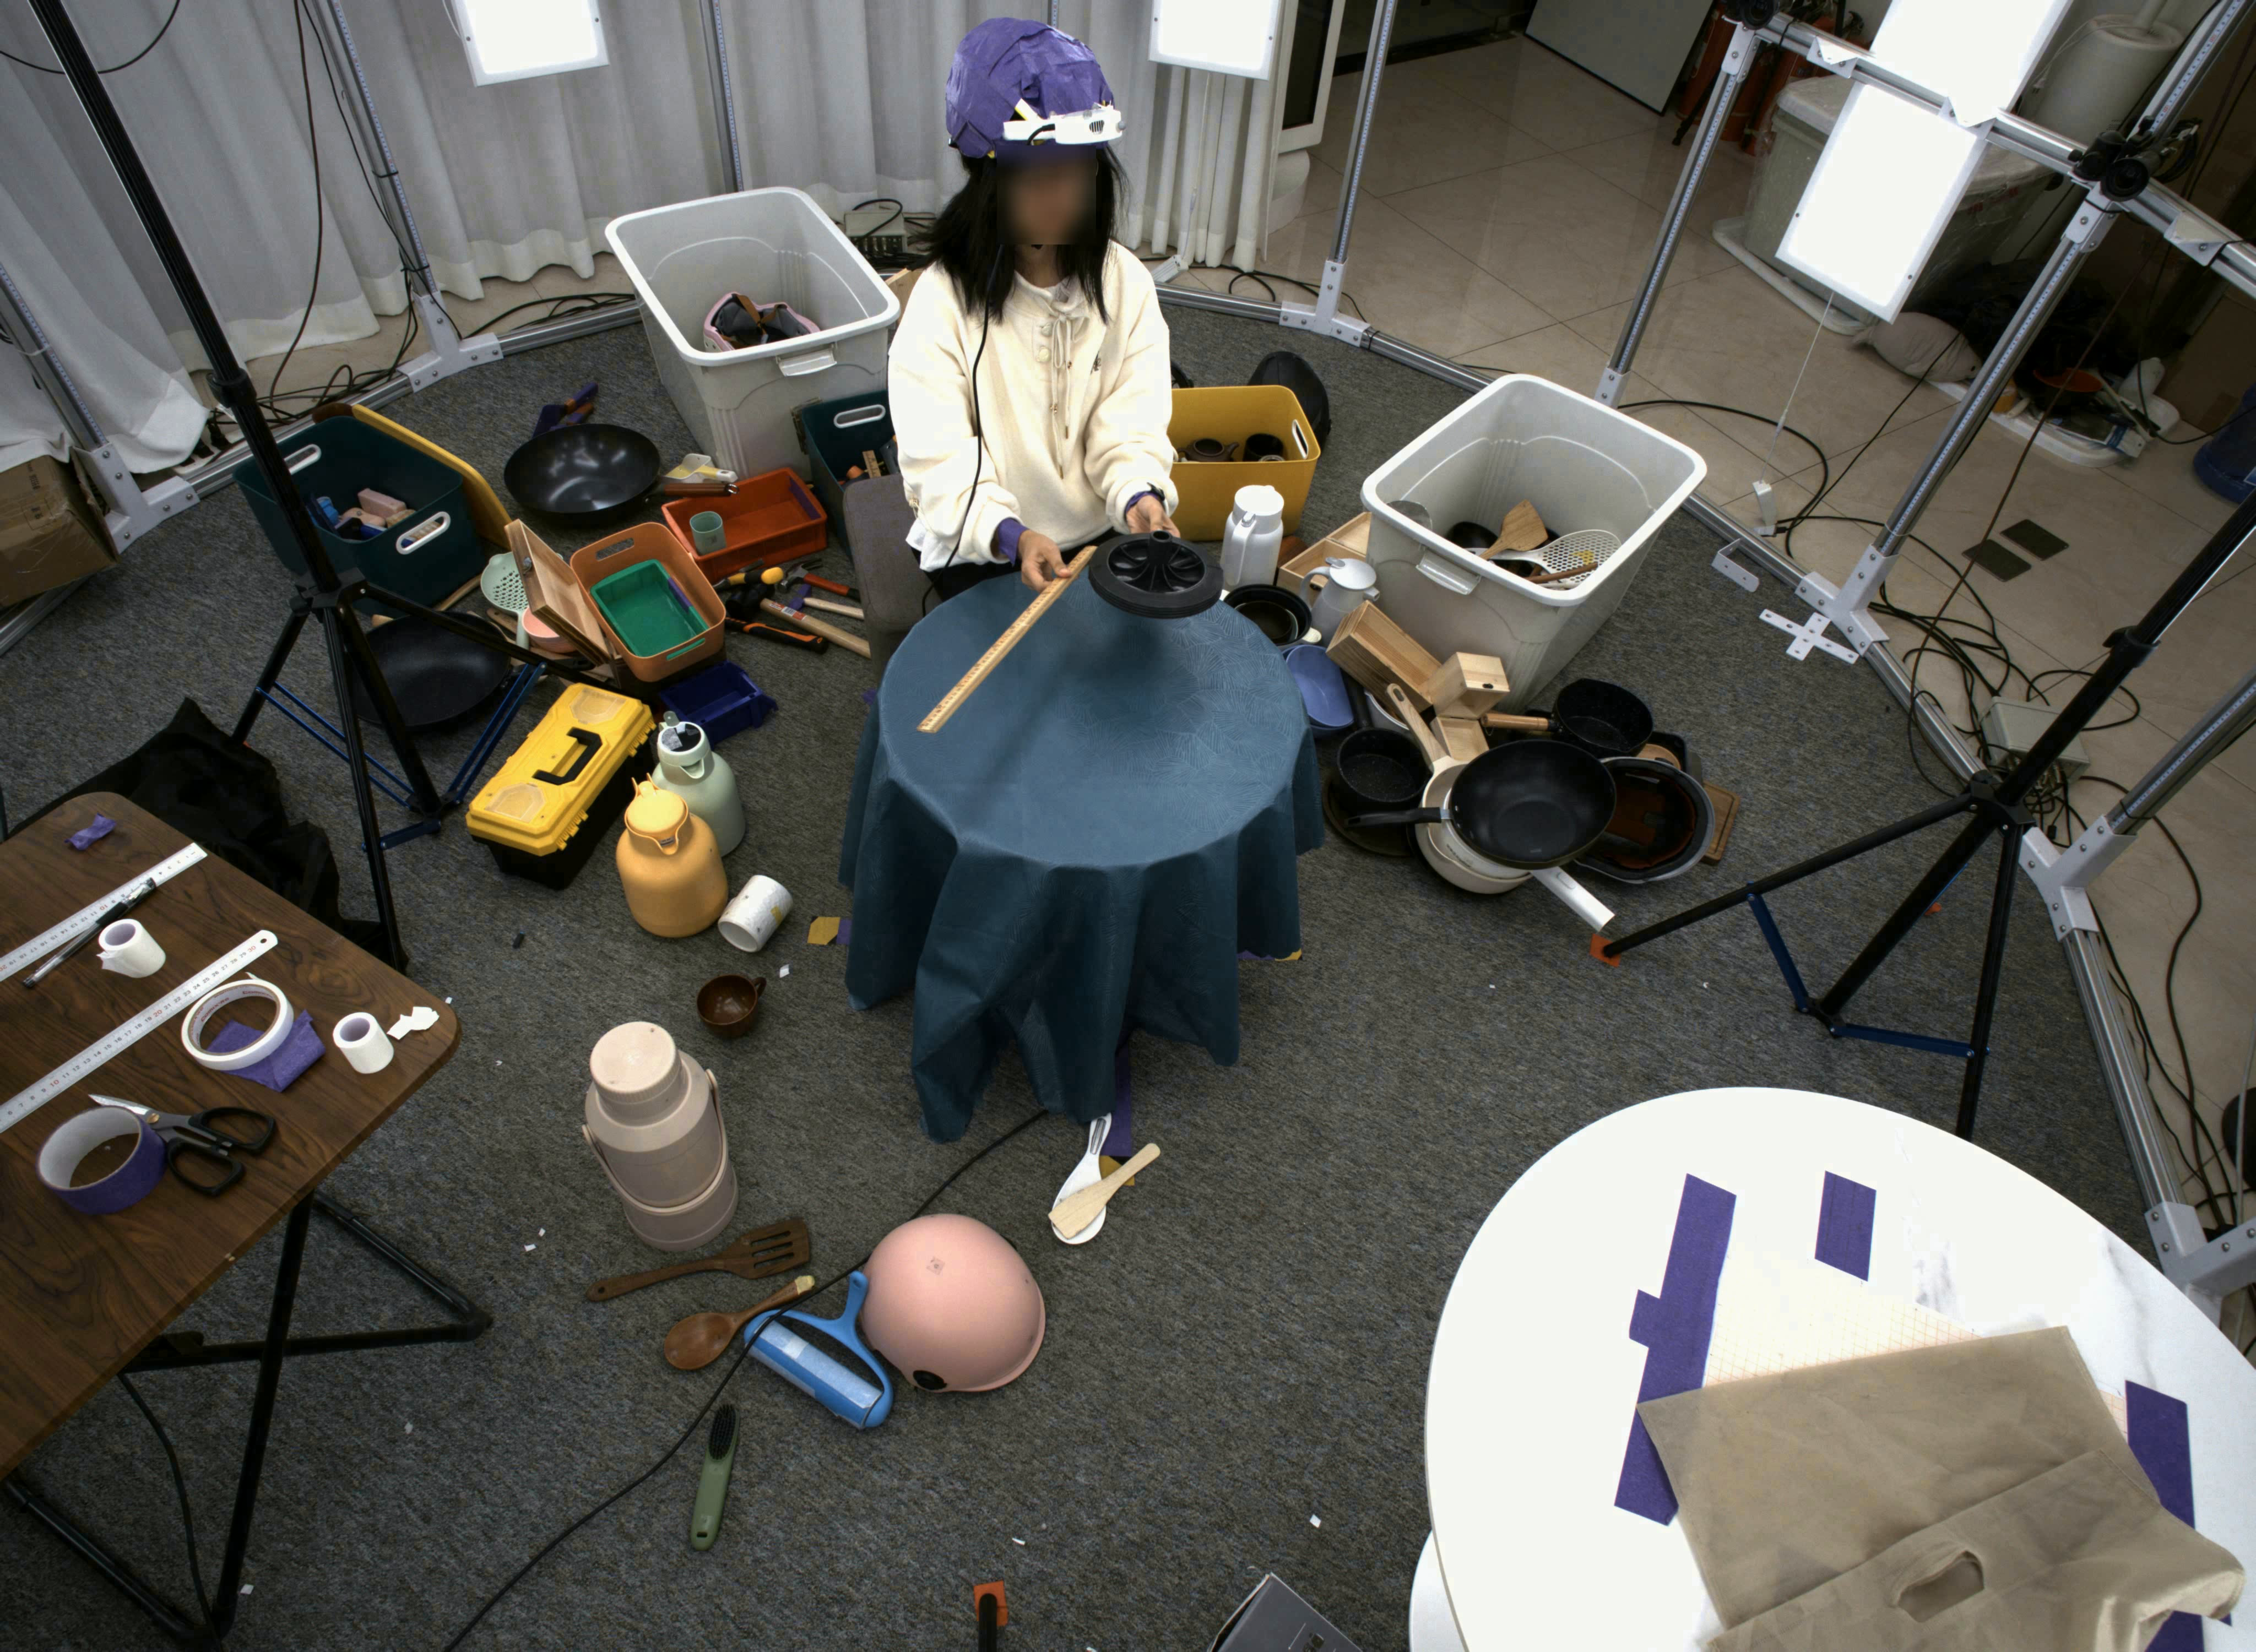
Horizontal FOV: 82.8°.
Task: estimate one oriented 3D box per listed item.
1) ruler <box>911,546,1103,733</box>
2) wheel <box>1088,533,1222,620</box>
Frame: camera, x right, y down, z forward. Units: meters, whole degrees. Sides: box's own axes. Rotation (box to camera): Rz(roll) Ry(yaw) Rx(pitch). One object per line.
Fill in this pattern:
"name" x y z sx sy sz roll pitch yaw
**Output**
"ruler" -0.142 -0.254 1.655 0.027 0.006 0.509 7 38 23
"wheel" 0.041 -0.363 1.779 0.189 0.077 0.193 24 44 17
